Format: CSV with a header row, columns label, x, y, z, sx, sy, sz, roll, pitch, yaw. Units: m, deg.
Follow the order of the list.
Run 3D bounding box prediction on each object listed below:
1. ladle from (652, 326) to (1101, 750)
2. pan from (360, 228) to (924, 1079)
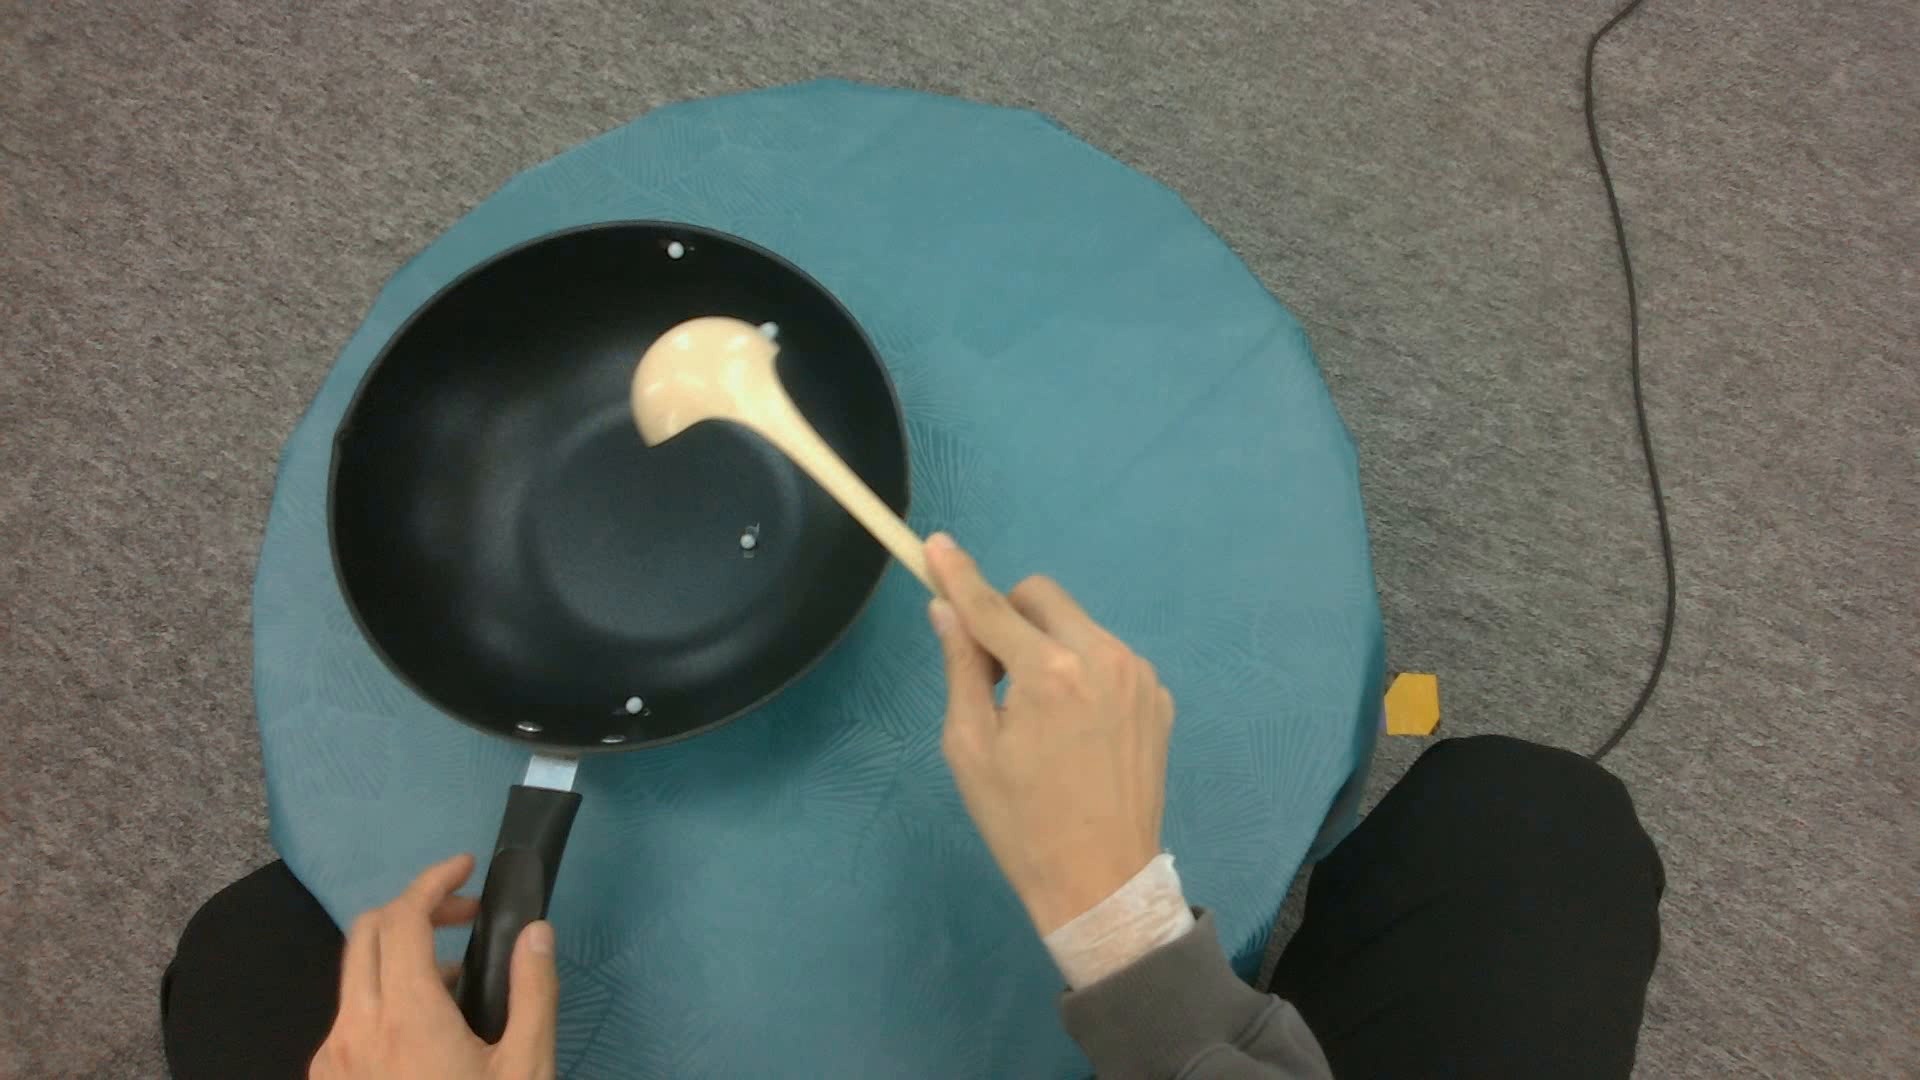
label,x,y,z,sx,sy,sz,roll,pitch,yaw
ladle,-0.038,0.007,0.617,0.072,0.072,0.254,-40,82,-25
pan,-0.172,0.066,0.695,0.288,0.086,0.464,8,72,5
